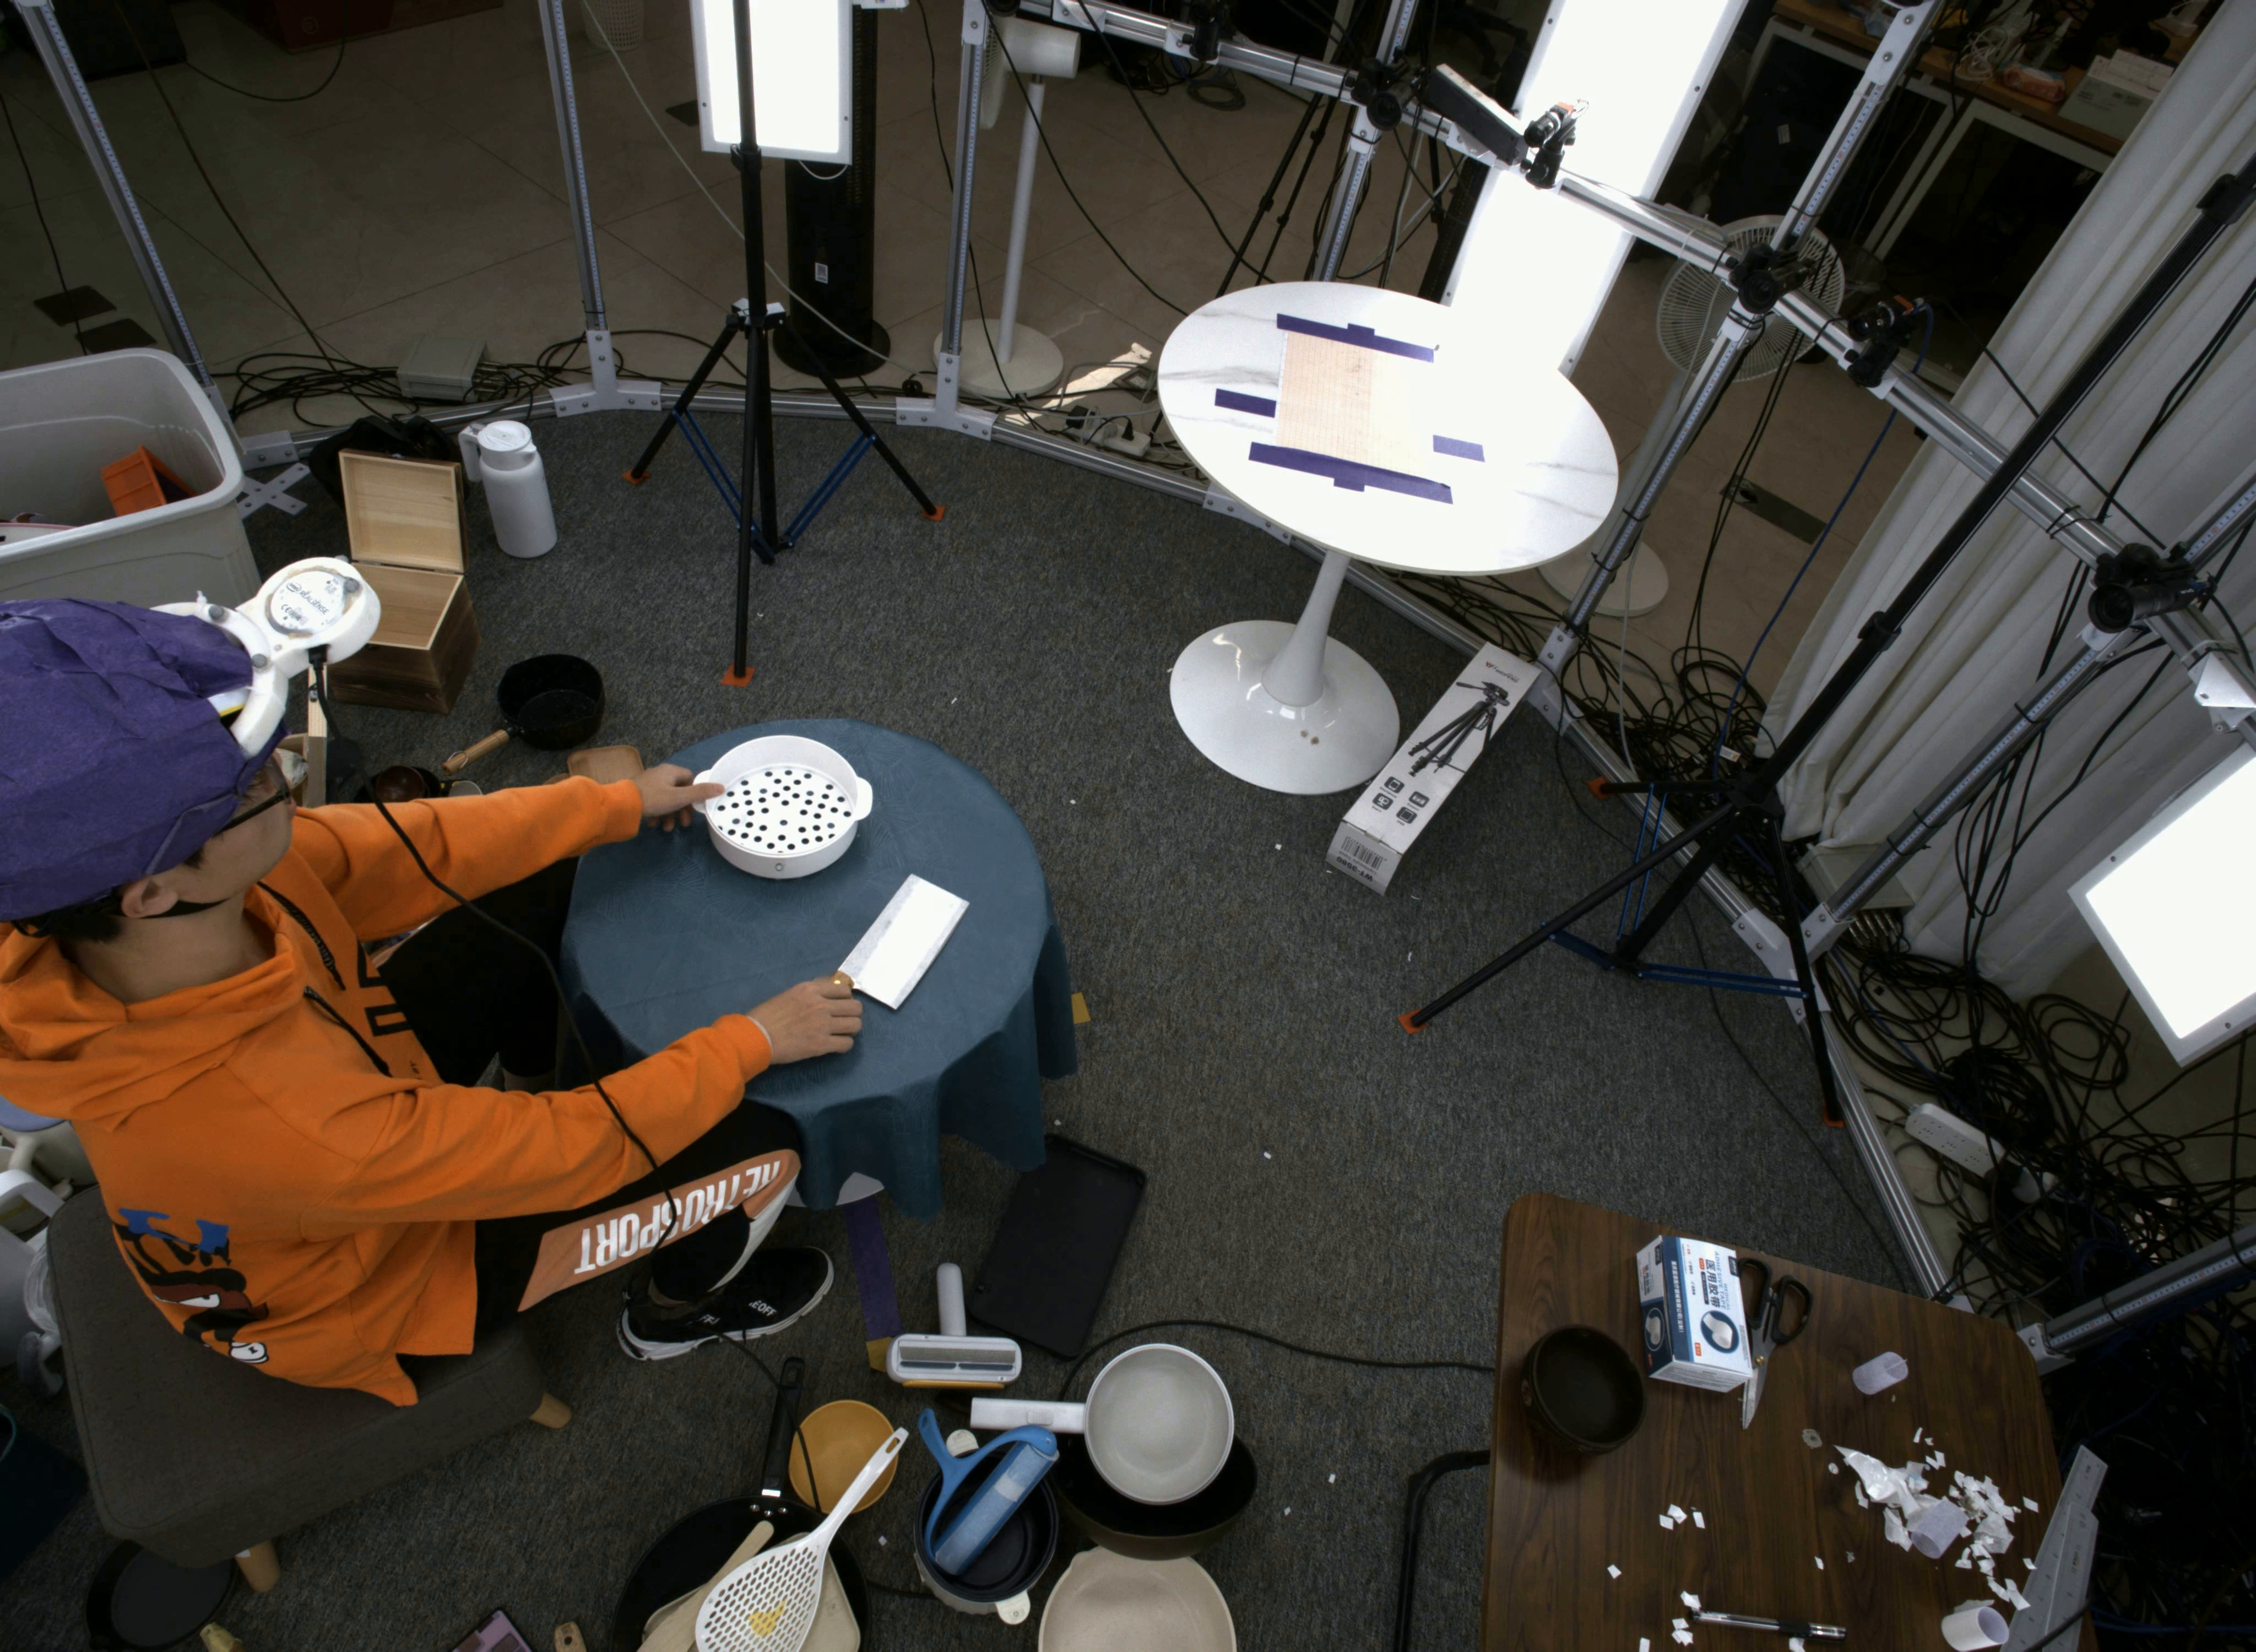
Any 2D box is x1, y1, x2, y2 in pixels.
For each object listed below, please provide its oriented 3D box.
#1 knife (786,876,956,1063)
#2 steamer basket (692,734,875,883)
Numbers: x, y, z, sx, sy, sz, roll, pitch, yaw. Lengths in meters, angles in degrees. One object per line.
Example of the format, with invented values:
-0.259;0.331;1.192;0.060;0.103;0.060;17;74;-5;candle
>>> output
-0.306;0.178;1.602;0.092;0.021;0.304;27;49;4;knife
-0.446;-0.024;1.682;0.231;0.070;0.198;4;54;-14;steamer basket
